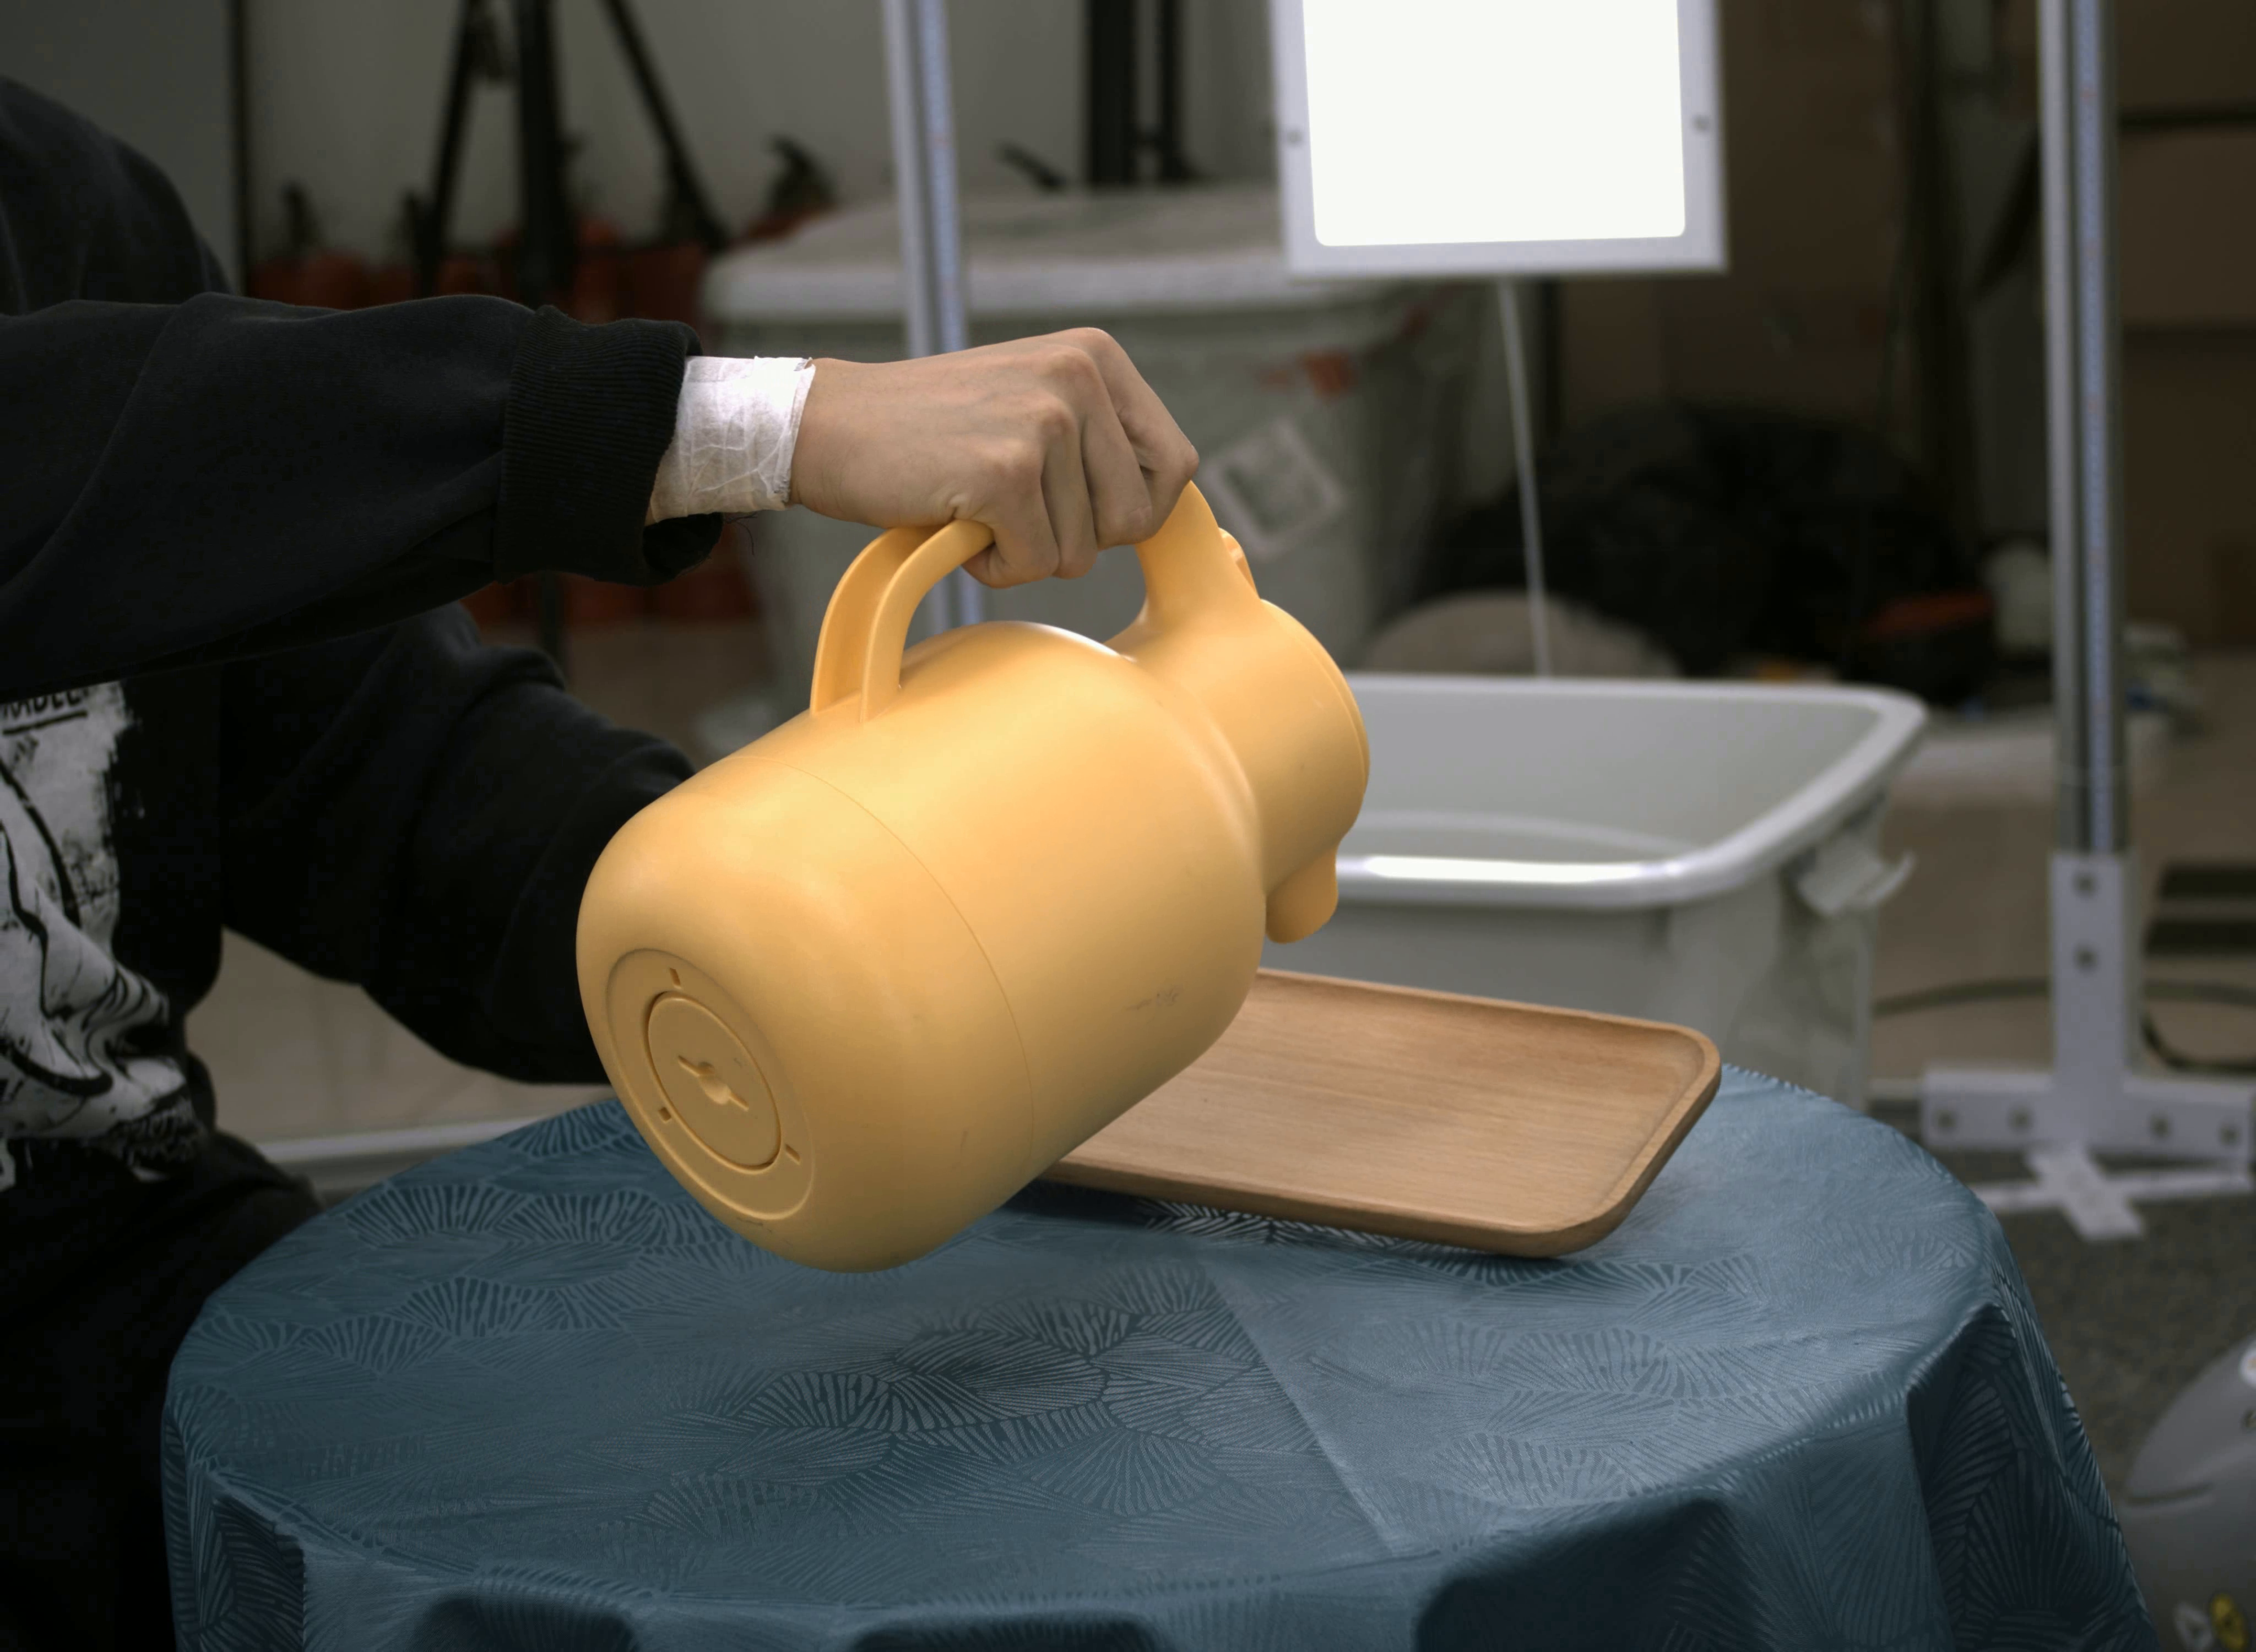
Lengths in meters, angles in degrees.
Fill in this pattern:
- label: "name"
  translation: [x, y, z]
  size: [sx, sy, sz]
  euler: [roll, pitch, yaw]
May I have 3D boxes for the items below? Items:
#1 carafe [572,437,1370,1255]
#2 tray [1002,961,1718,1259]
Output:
- label: "carafe"
  translation: [-0.045, -0.003, 1.730]
  size: [0.254, 0.202, 0.167]
  euler: [-31, 21, -34]
- label: "tray"
  translation: [0.073, 0.094, 1.882]
  size: [0.255, 0.023, 0.128]
  euler: [7, 33, 34]
